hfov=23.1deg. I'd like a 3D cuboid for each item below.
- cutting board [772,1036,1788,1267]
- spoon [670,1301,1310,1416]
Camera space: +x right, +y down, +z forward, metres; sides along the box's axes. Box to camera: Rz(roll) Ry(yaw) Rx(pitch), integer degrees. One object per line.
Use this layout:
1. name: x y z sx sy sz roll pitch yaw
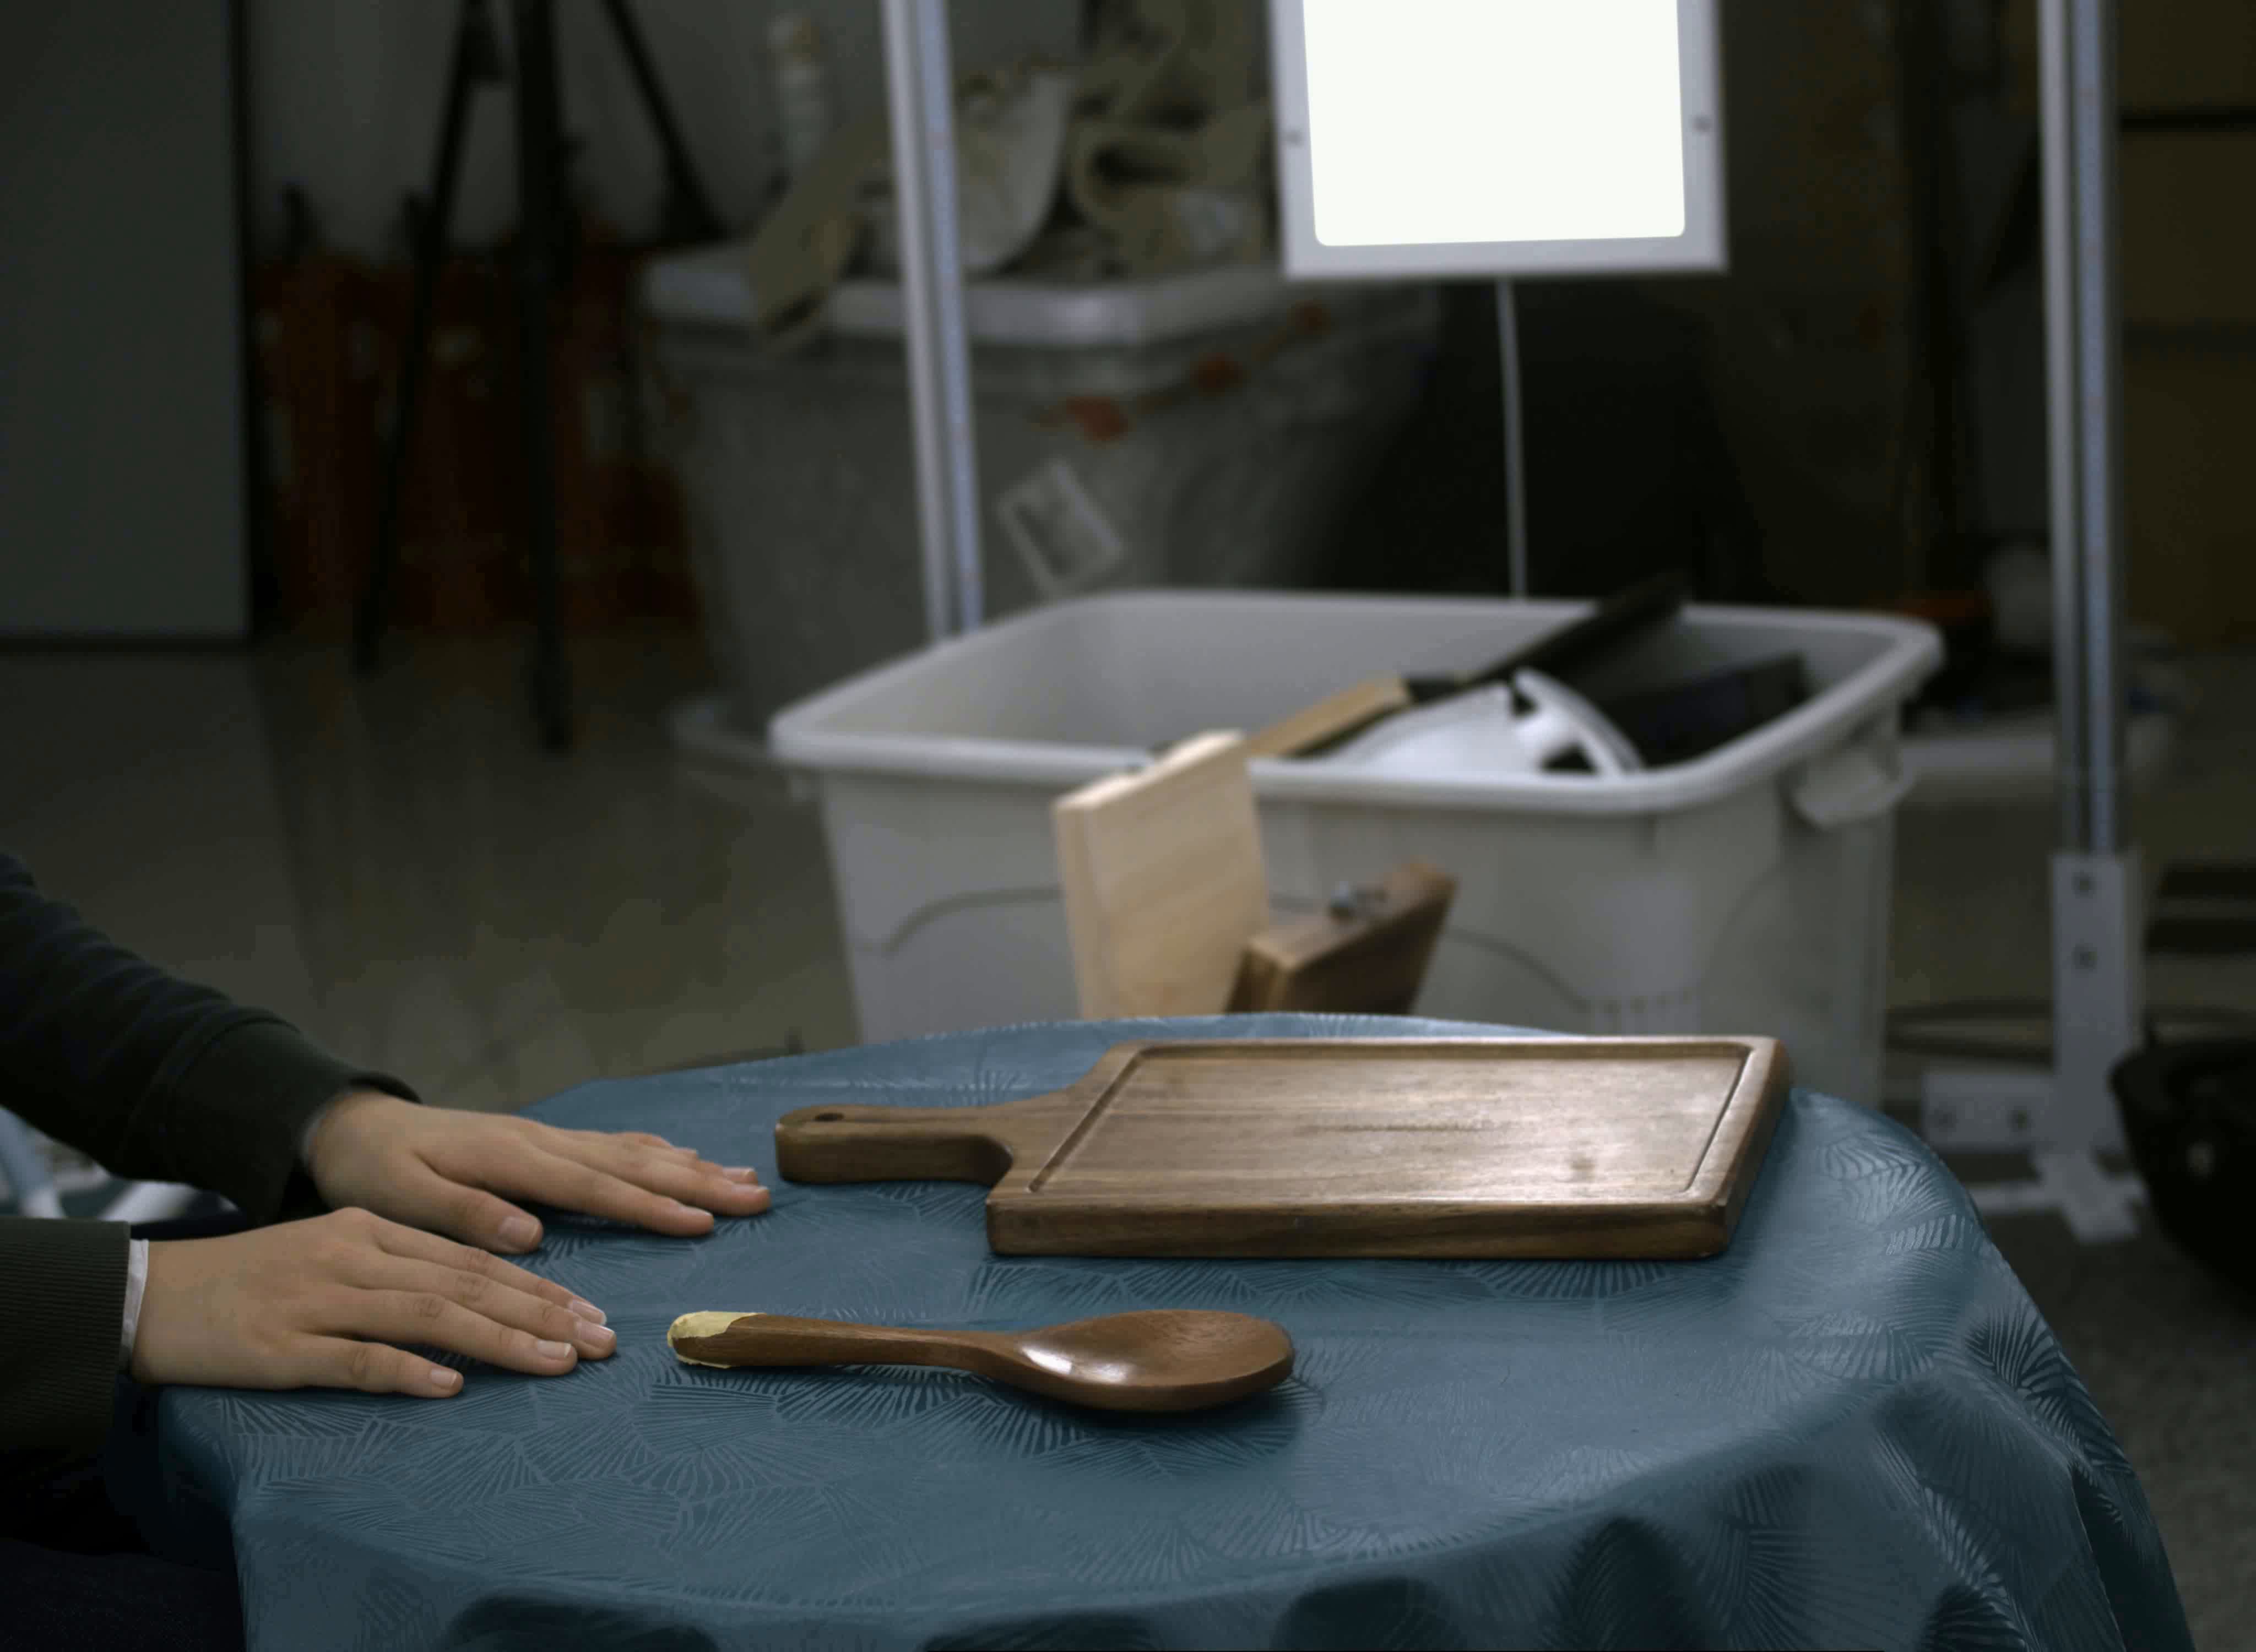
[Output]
1. cutting board: 0.046 0.111 1.907 0.356 0.023 0.198 -1 15 16
2. spoon: -0.045 0.164 1.722 0.219 0.017 0.074 2 17 25
